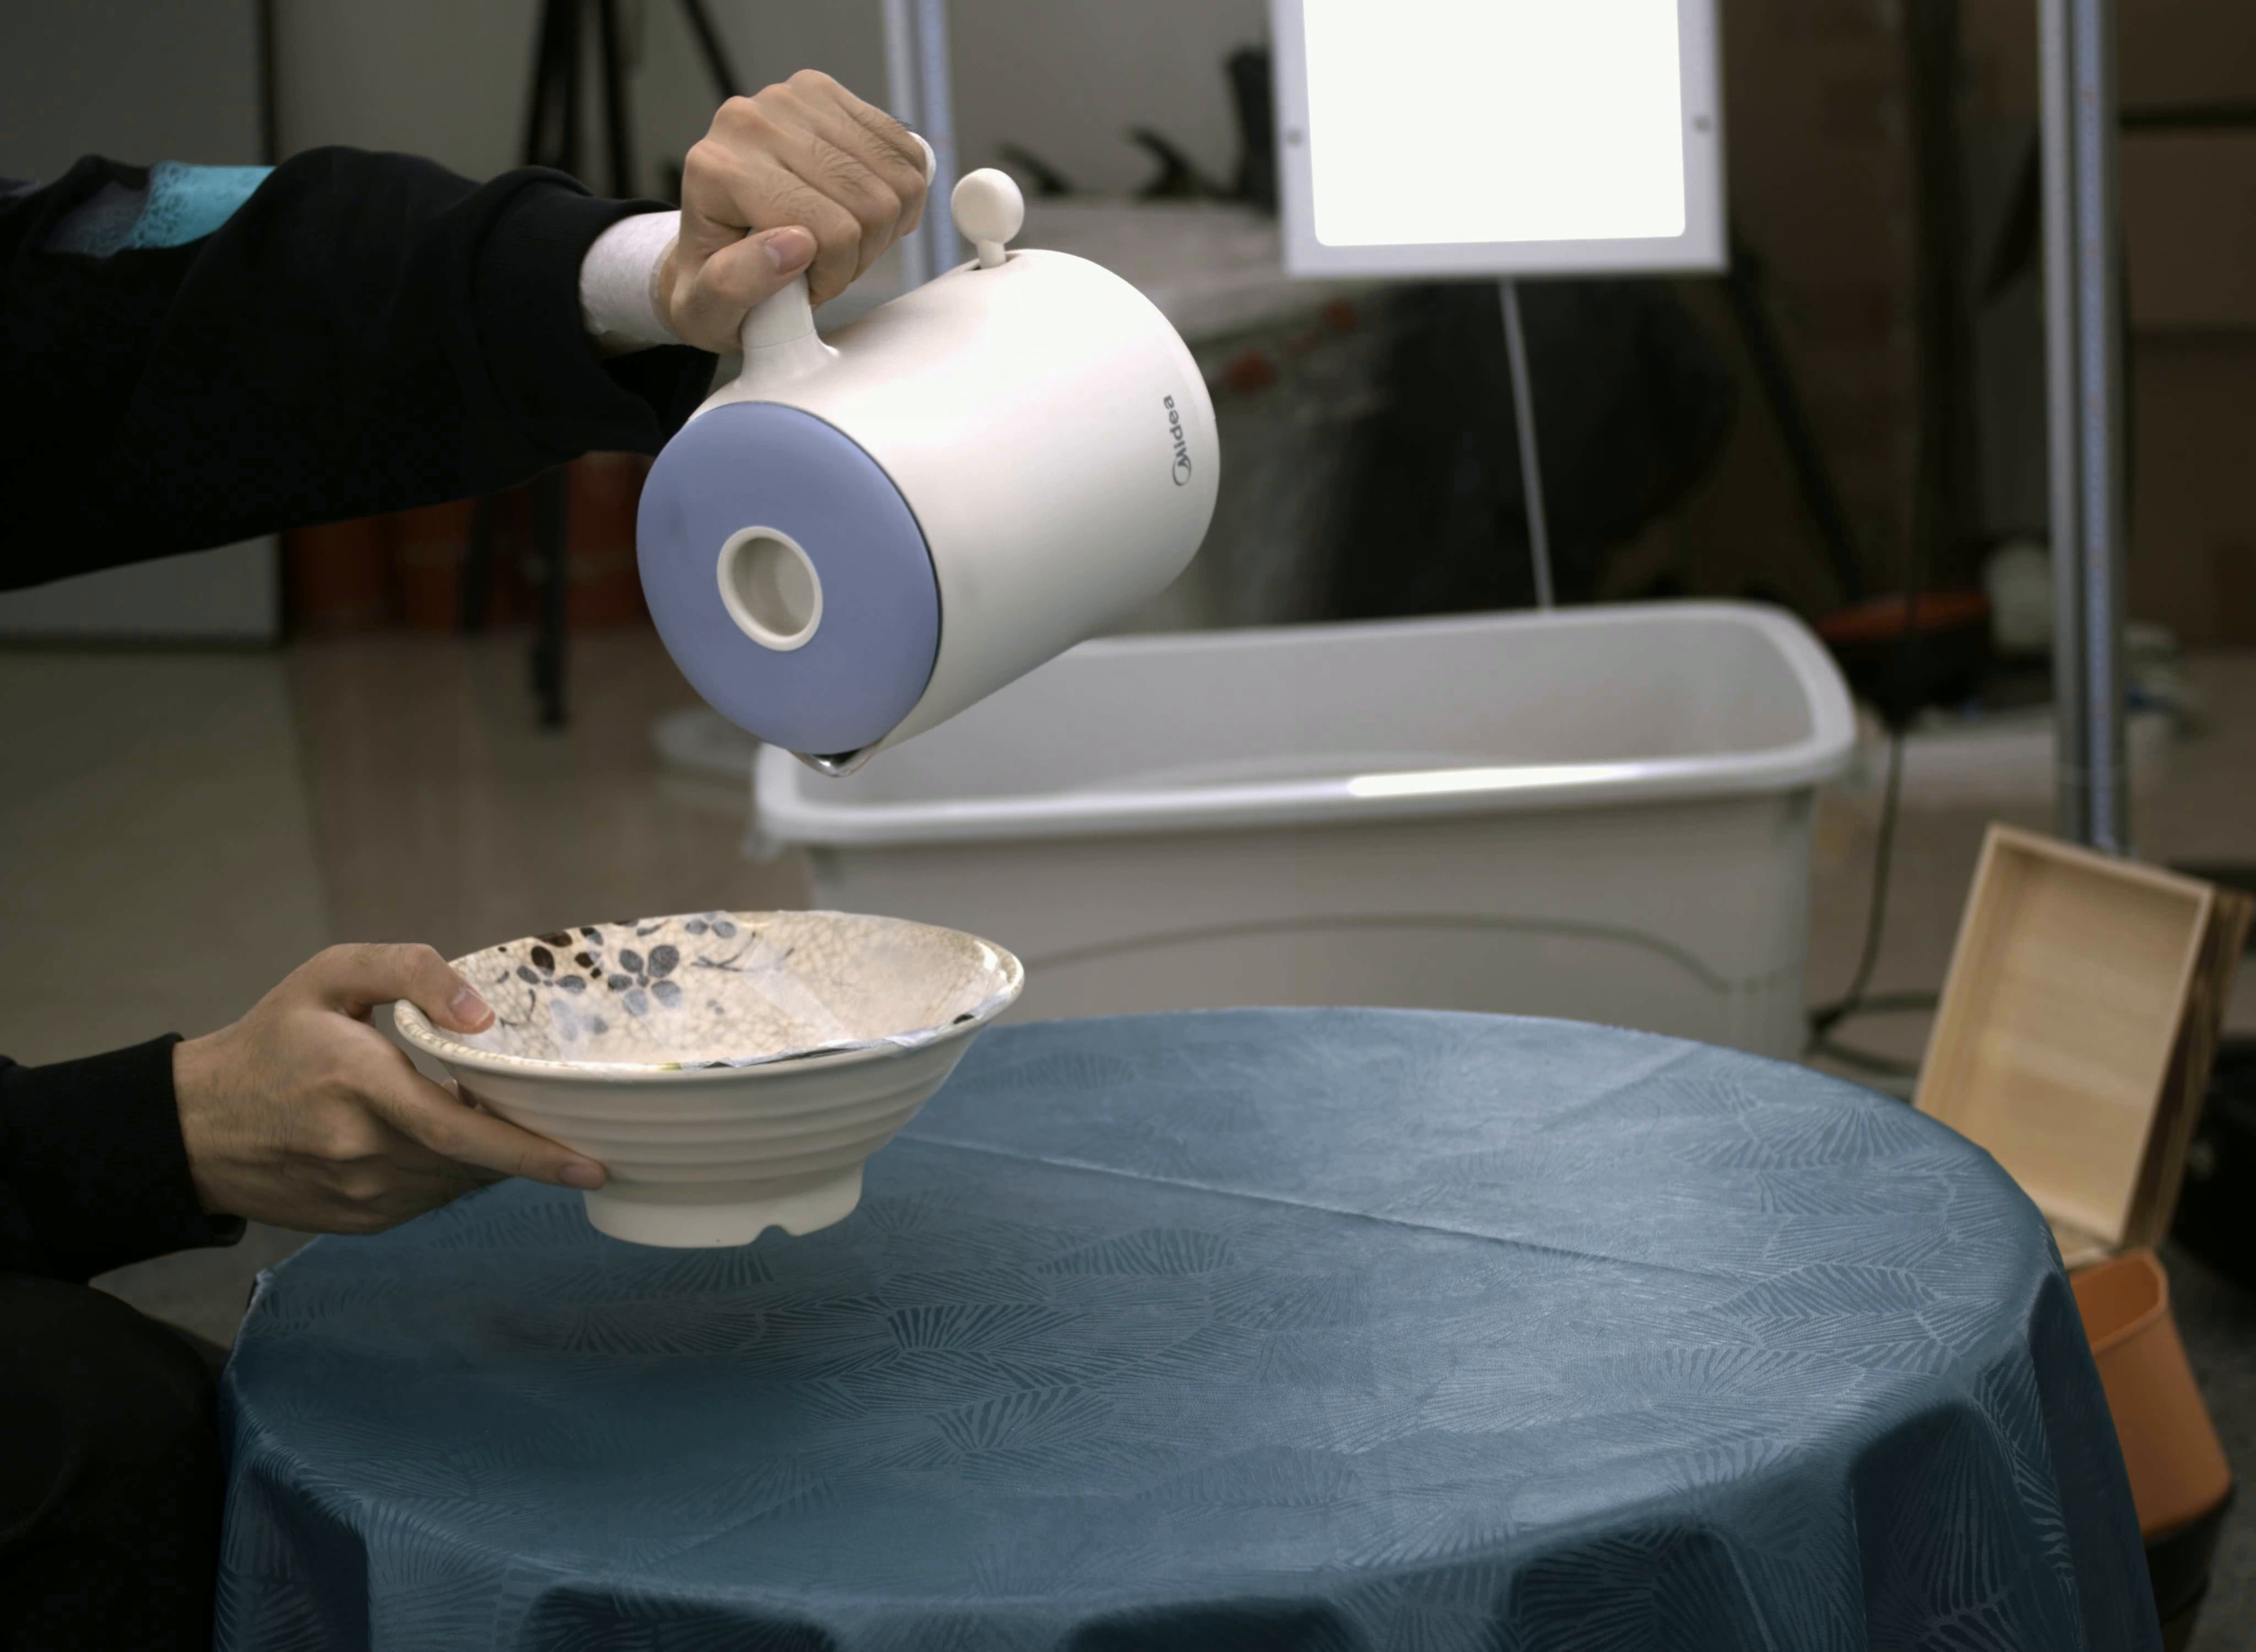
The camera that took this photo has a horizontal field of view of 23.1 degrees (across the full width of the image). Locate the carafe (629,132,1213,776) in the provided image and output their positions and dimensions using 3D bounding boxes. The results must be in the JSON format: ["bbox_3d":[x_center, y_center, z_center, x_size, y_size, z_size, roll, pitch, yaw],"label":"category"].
[{"bbox_3d":[-0.073,-0.131,1.814,0.135,0.191,0.178,-4,15,37],"label":"carafe"}]

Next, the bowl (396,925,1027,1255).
[{"bbox_3d":[-0.130,0.090,1.775,0.203,0.078,0.204,-5,10,0],"label":"bowl"}]
